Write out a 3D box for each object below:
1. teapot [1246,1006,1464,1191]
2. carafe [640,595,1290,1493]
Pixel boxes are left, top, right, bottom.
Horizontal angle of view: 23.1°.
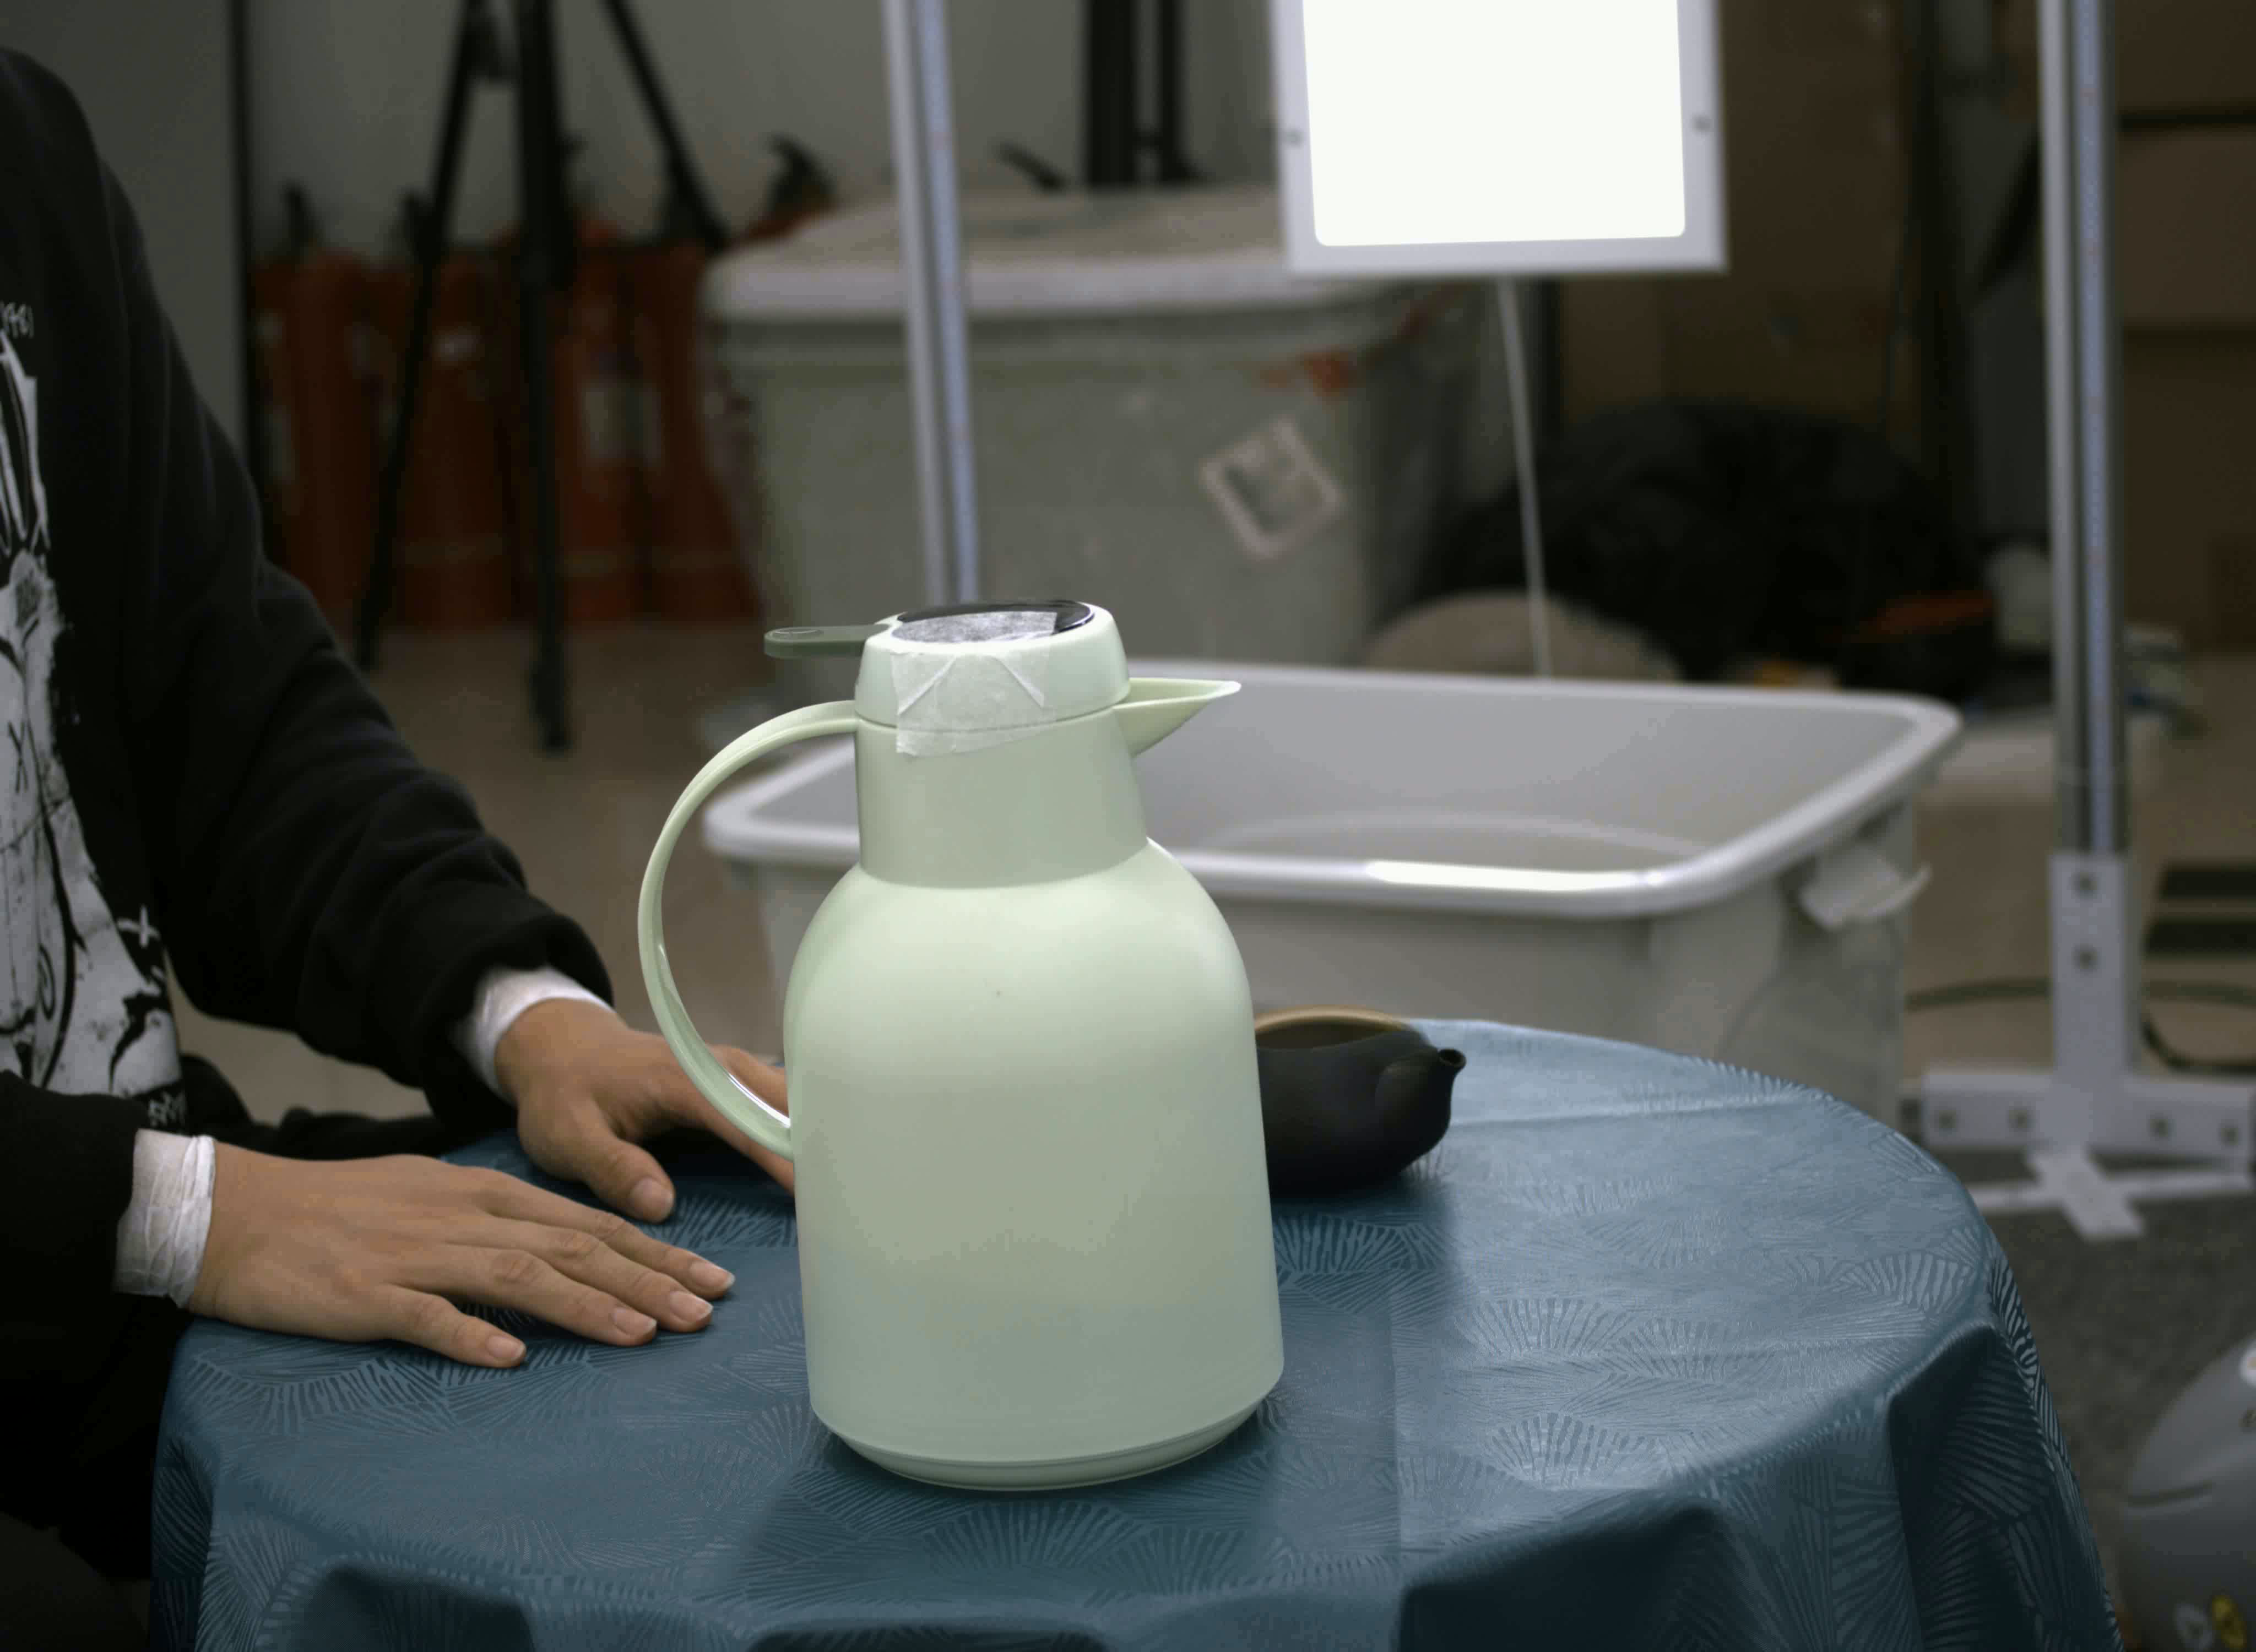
[{"bbox_3d":[0.065,0.094,1.896,0.136,0.053,0.088,8,17,43],"label":"teapot"},{"bbox_3d":[-0.047,0.062,1.655,0.187,0.257,0.143,-7,16,4],"label":"carafe"}]
